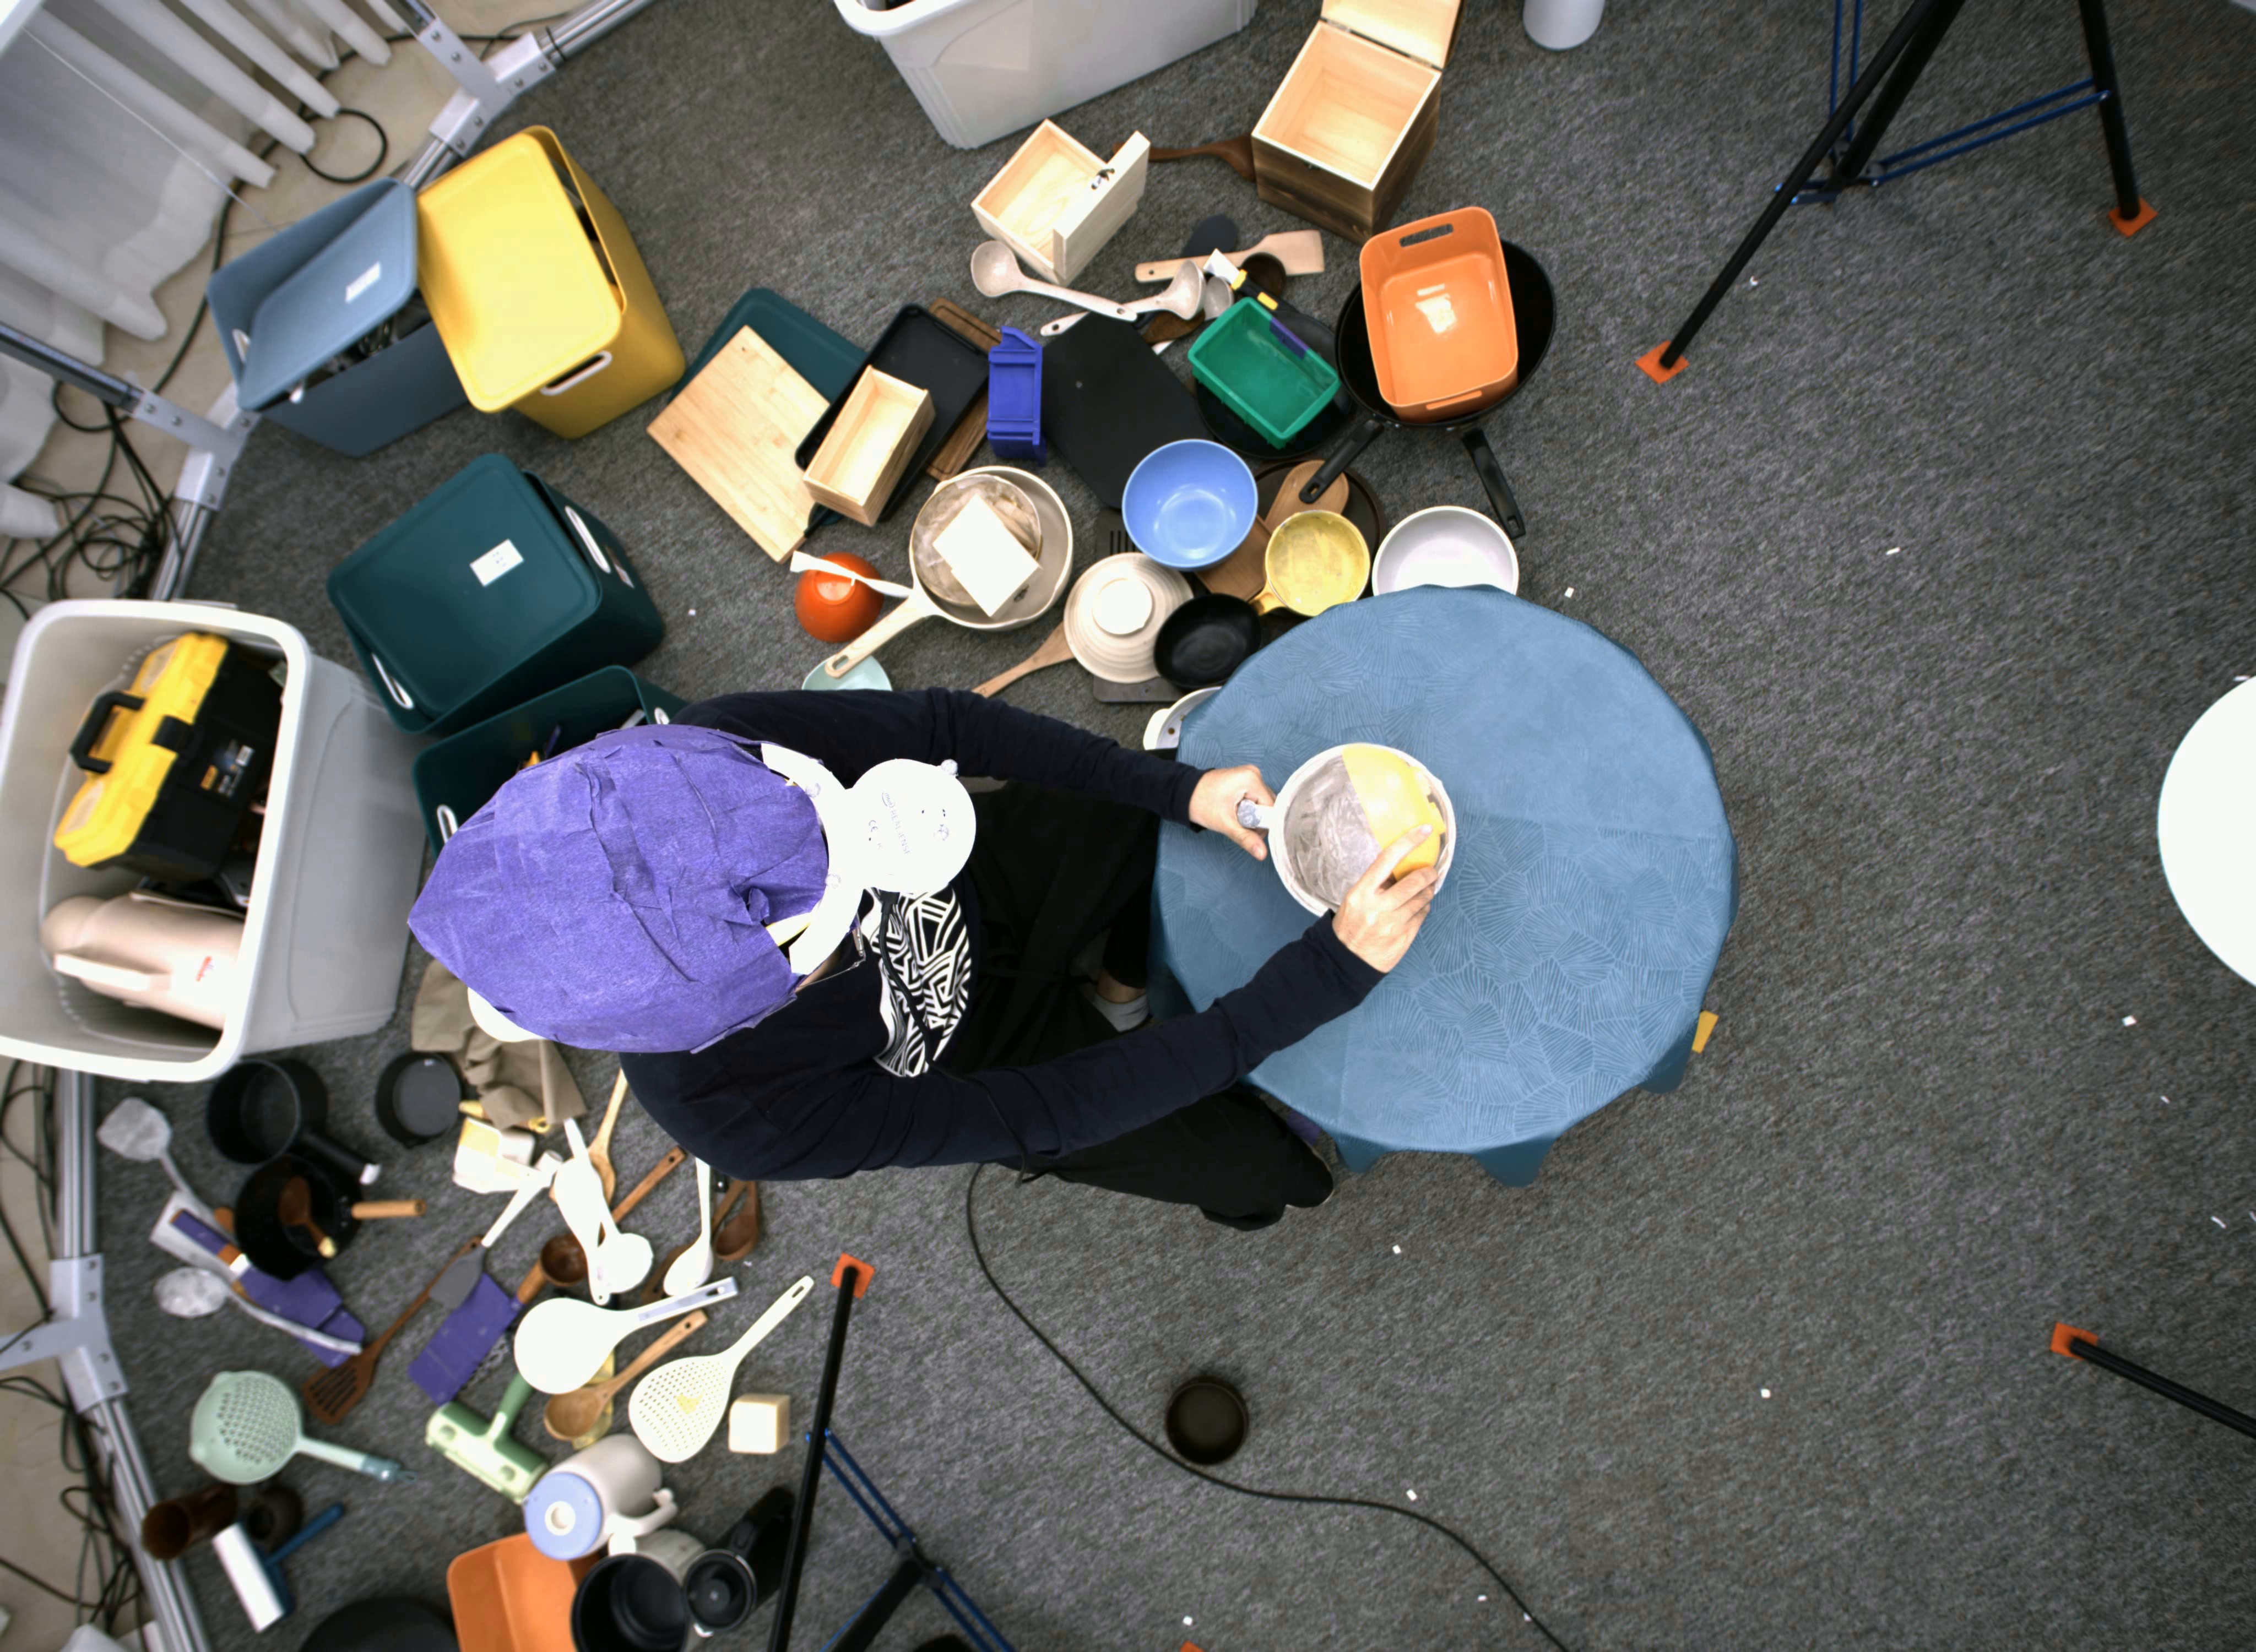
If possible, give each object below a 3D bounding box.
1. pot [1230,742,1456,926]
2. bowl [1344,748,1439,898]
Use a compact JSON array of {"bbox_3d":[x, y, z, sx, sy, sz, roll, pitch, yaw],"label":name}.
[{"bbox_3d":[0.212,0.002,1.393,0.234,0.136,0.179,10,95,15],"label":"pot"},{"bbox_3d":[0.246,-0.012,1.257,0.060,0.145,0.144,-18,82,7],"label":"bowl"}]
